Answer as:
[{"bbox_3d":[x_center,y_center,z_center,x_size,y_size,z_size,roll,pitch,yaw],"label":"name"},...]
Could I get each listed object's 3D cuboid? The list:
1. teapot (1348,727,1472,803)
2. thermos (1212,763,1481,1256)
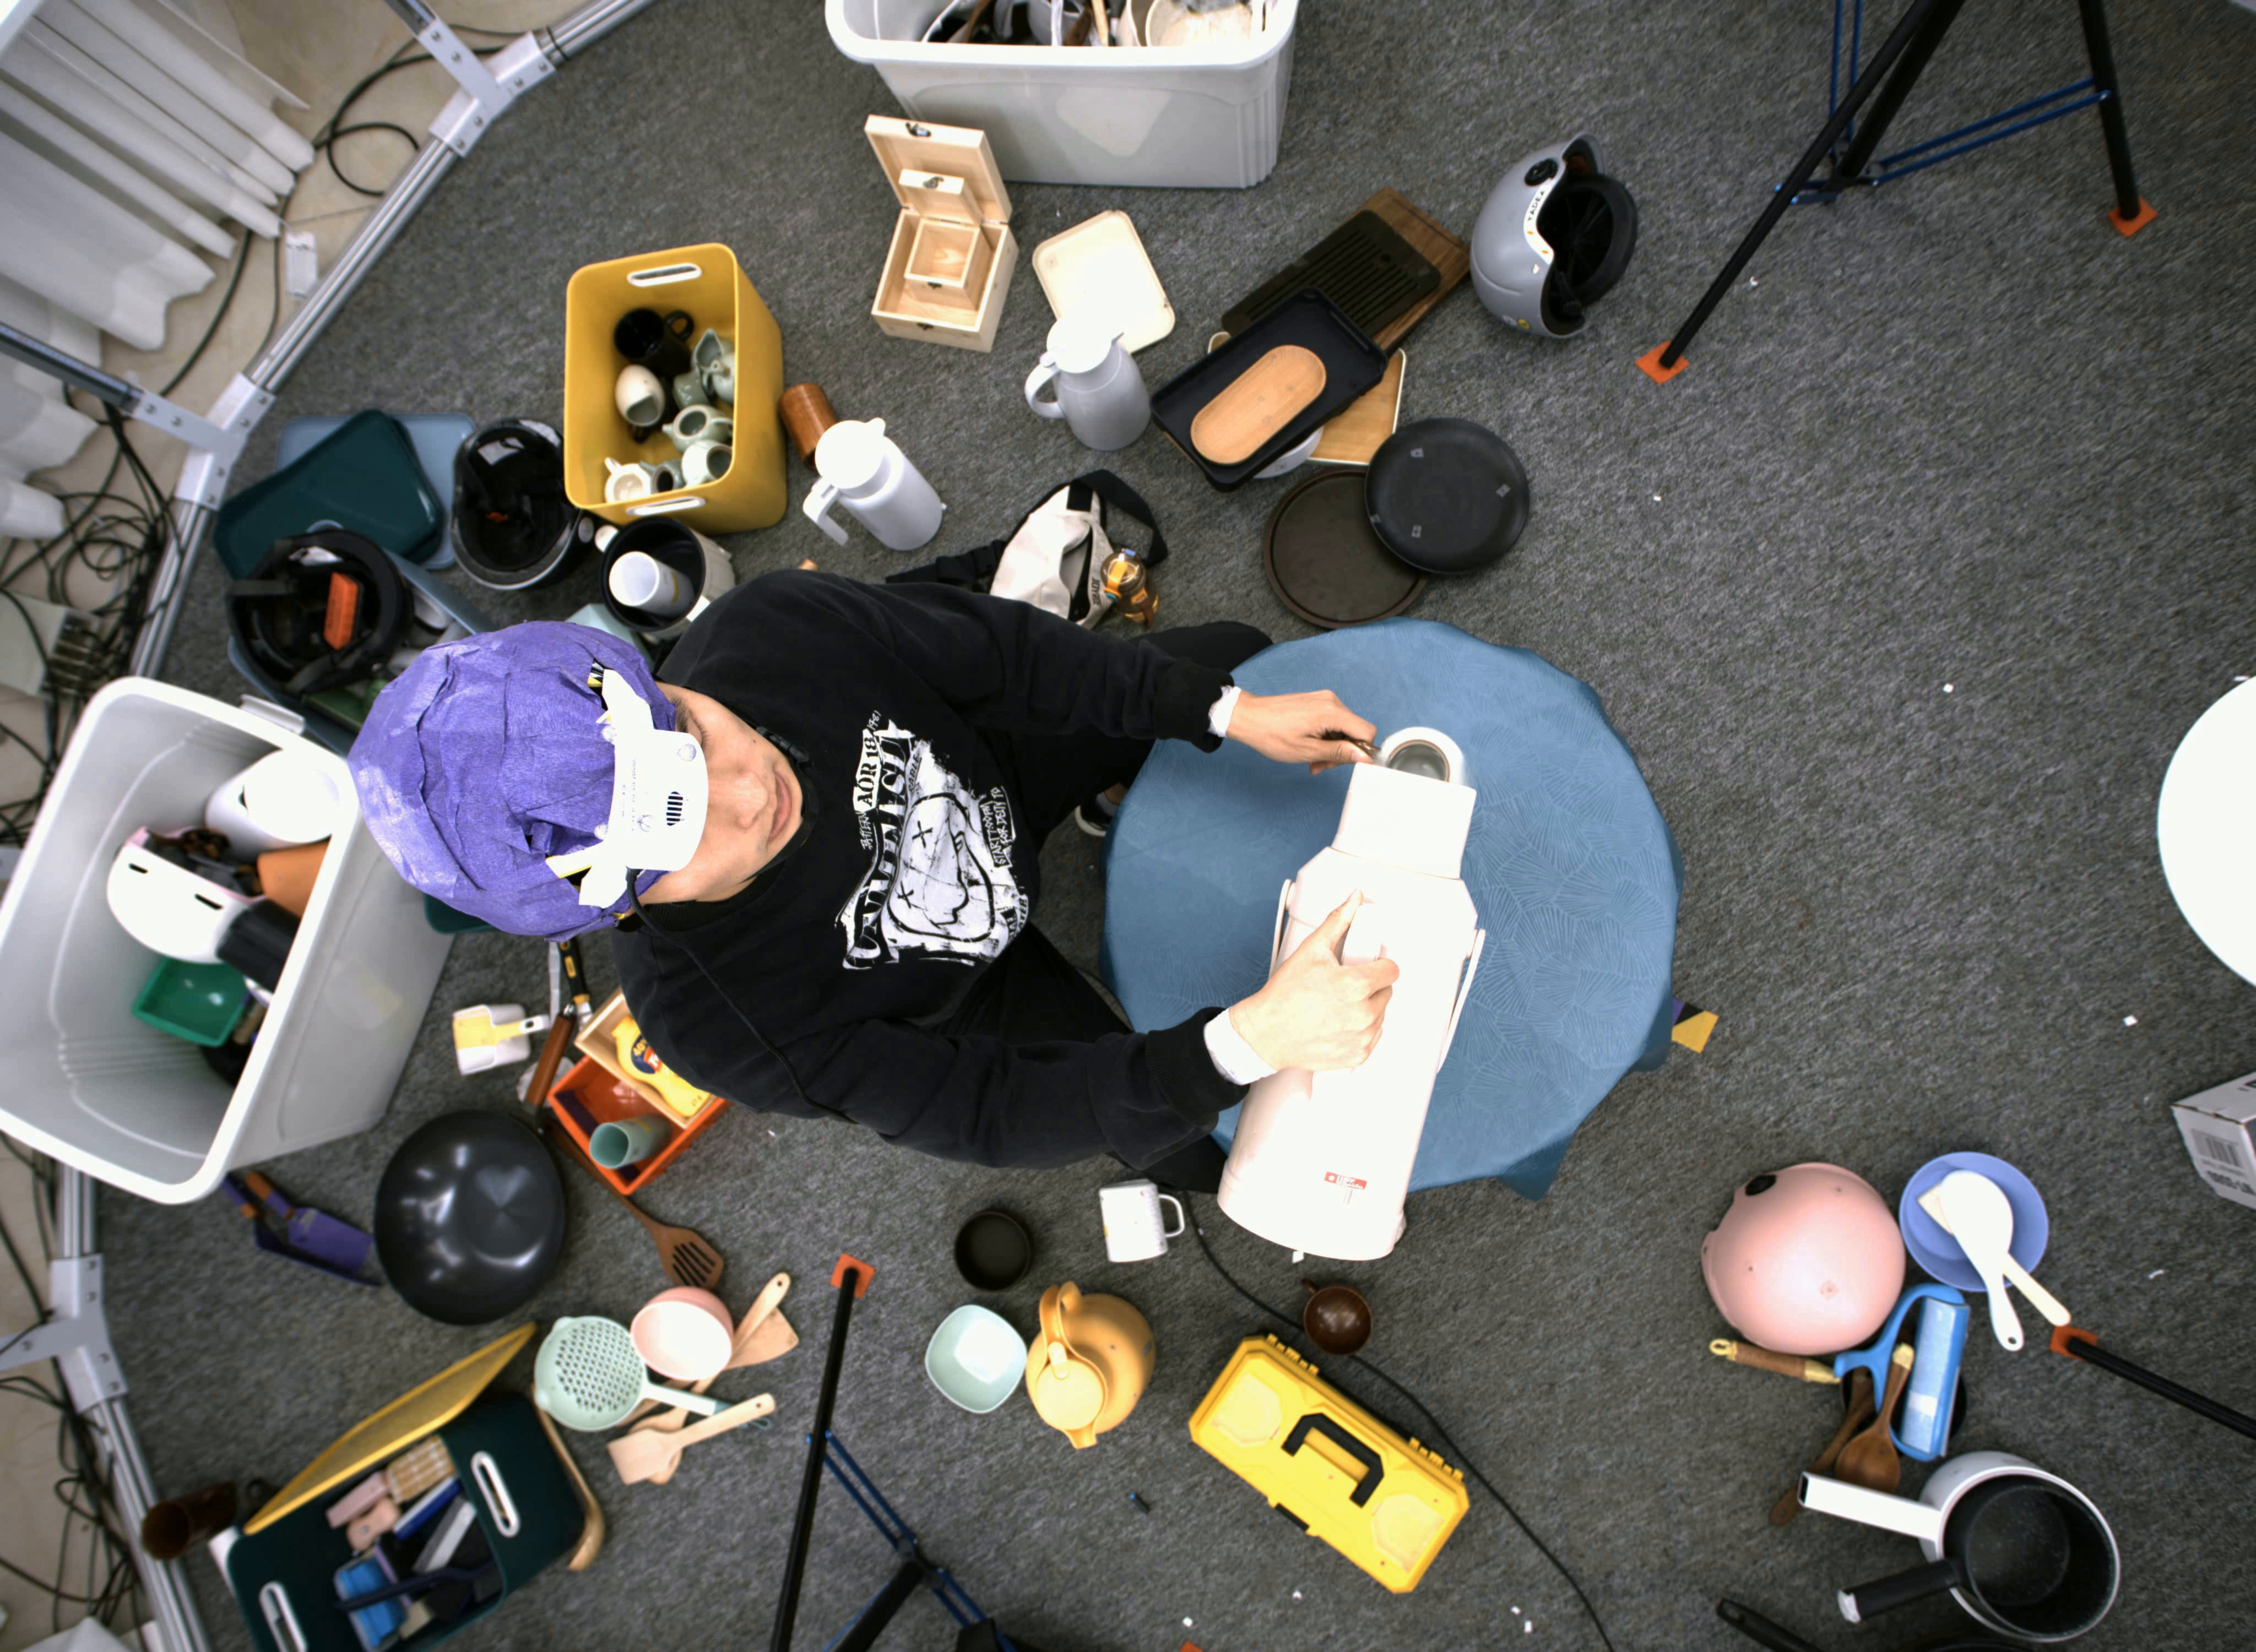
[{"bbox_3d":[0.268,-0.053,1.308,0.128,0.059,0.092,25,96,15],"label":"teapot"},{"bbox_3d":[0.191,0.152,1.183,0.175,0.205,0.409,17,99,14],"label":"thermos"}]
